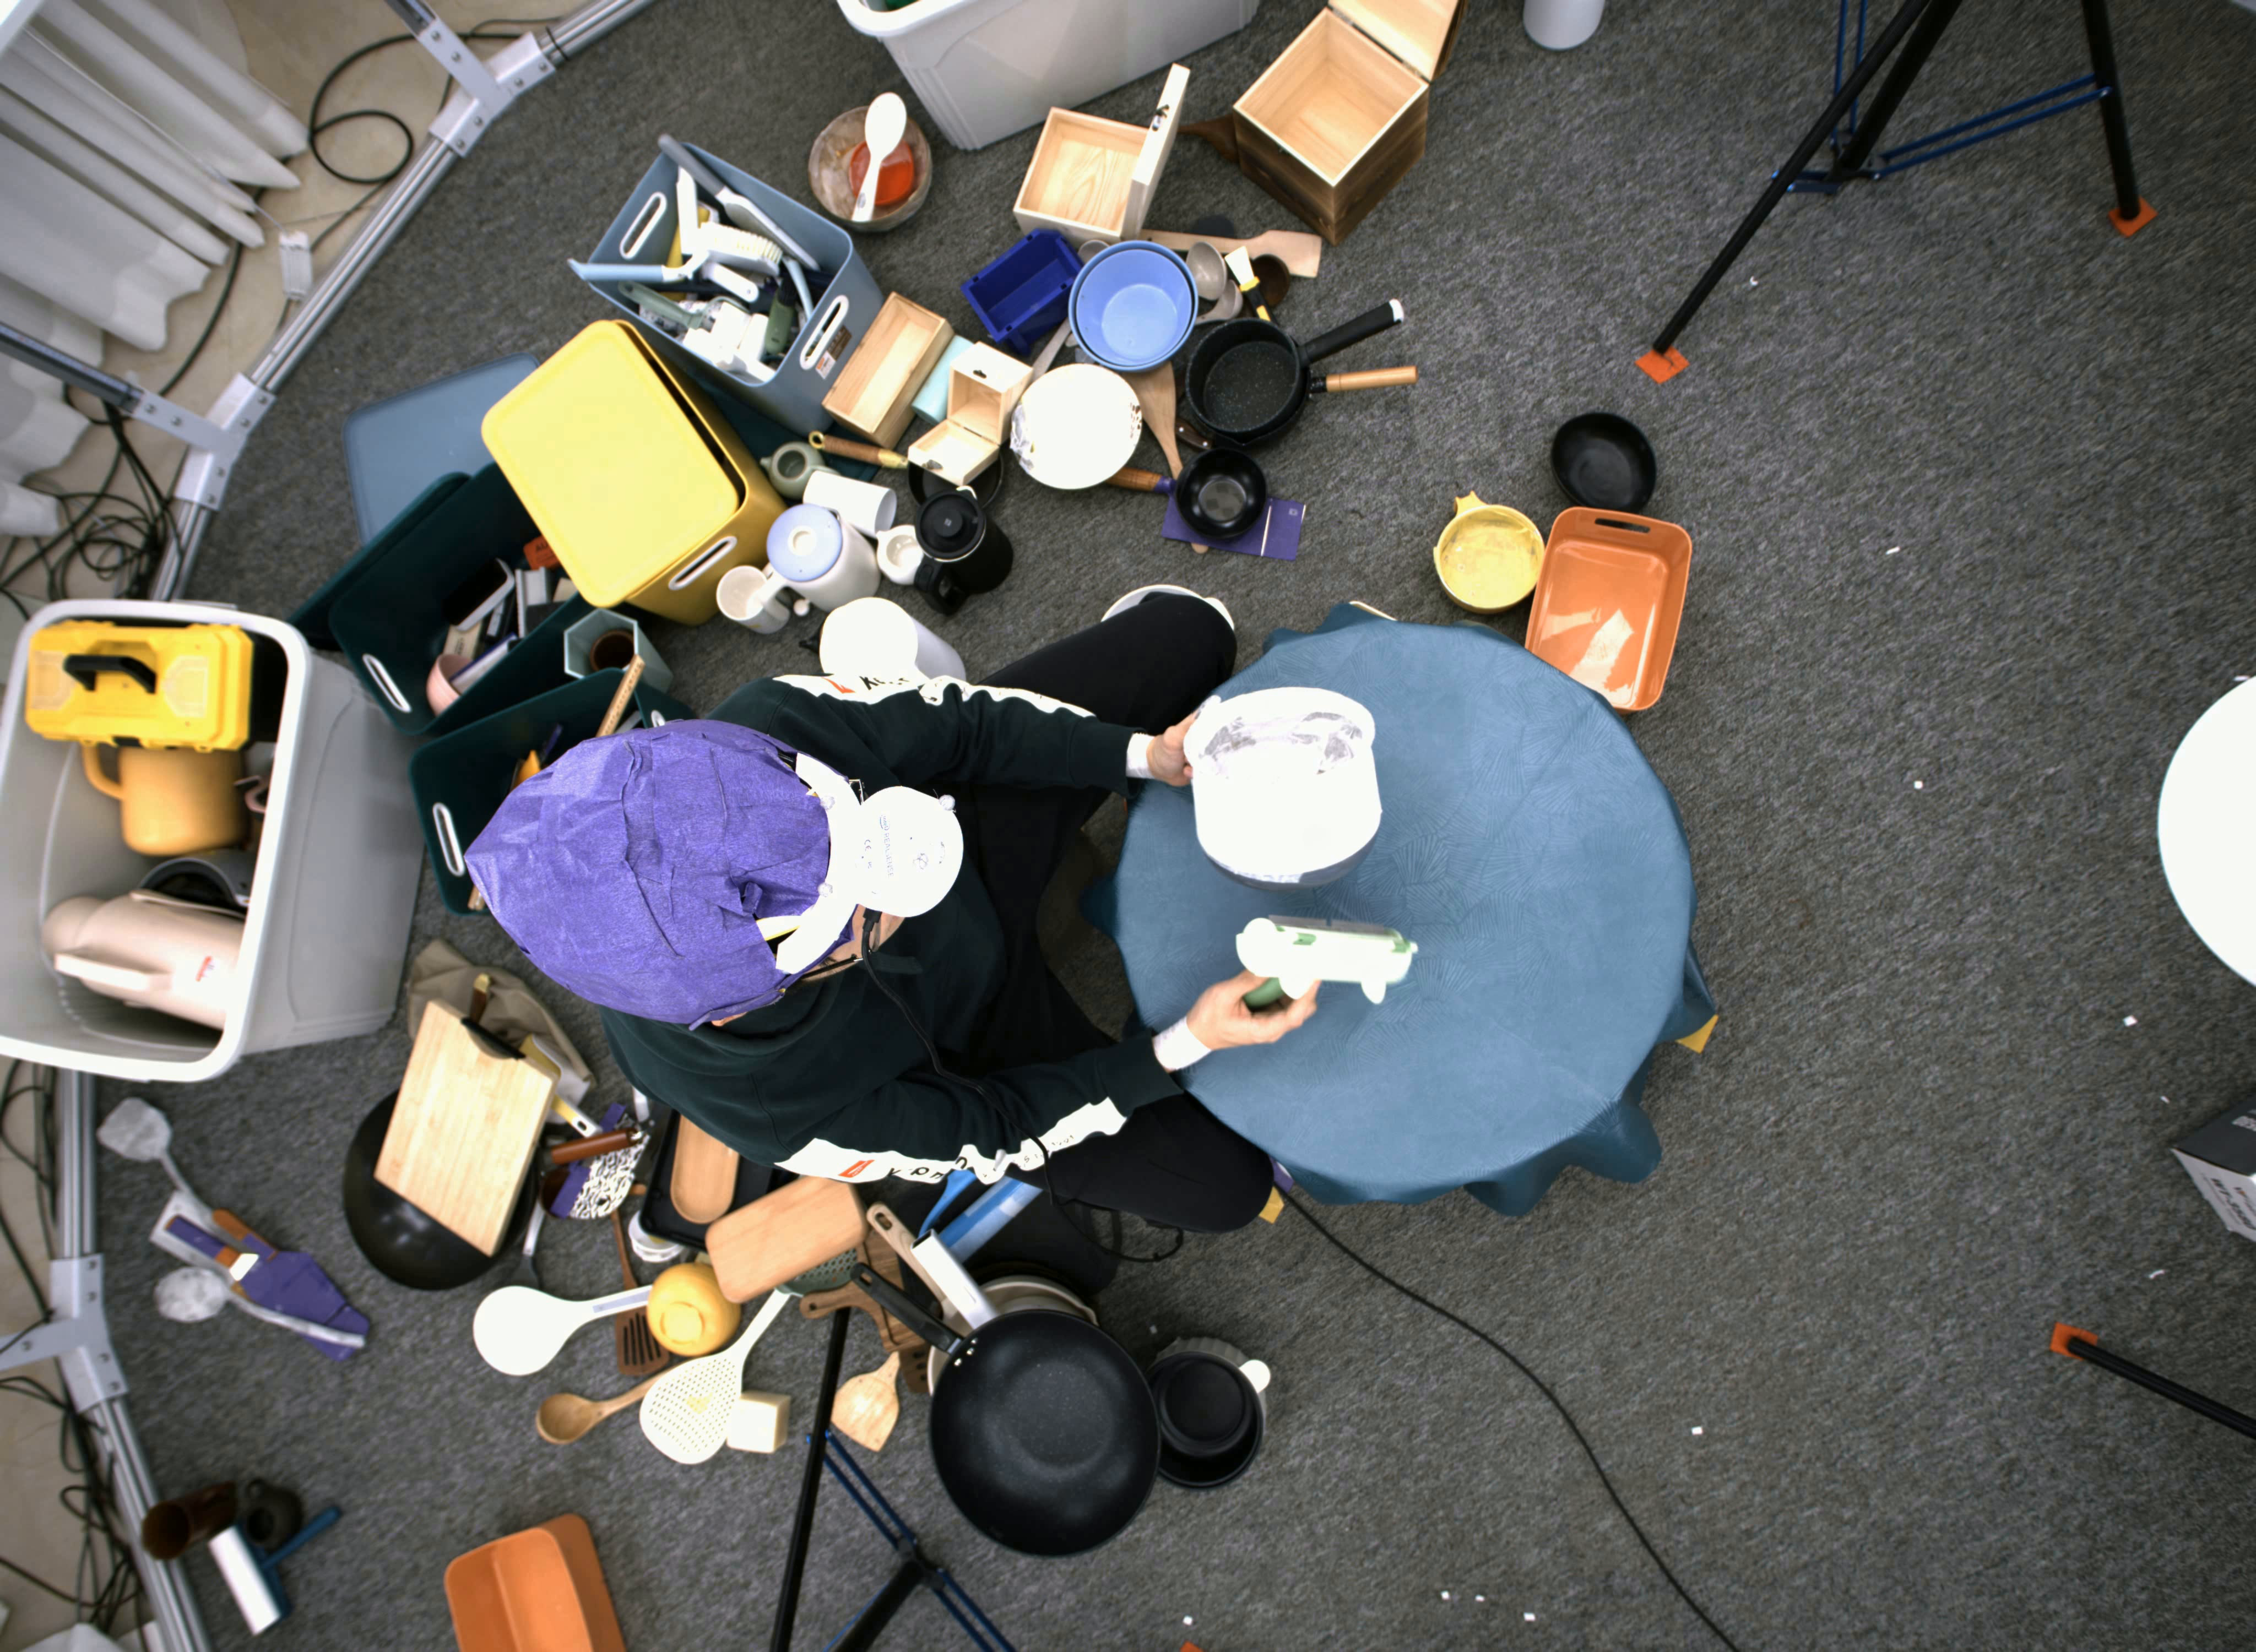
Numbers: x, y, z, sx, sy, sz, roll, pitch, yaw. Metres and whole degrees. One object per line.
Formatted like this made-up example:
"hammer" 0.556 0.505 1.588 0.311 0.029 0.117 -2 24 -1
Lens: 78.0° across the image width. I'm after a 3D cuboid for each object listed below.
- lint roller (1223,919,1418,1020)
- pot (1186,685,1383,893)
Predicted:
"lint roller" 0.163 0.162 1.354 0.187 0.198 0.080 -46 50 35
"pot" 0.134 -0.045 1.325 0.176 0.140 0.231 -29 40 -24
